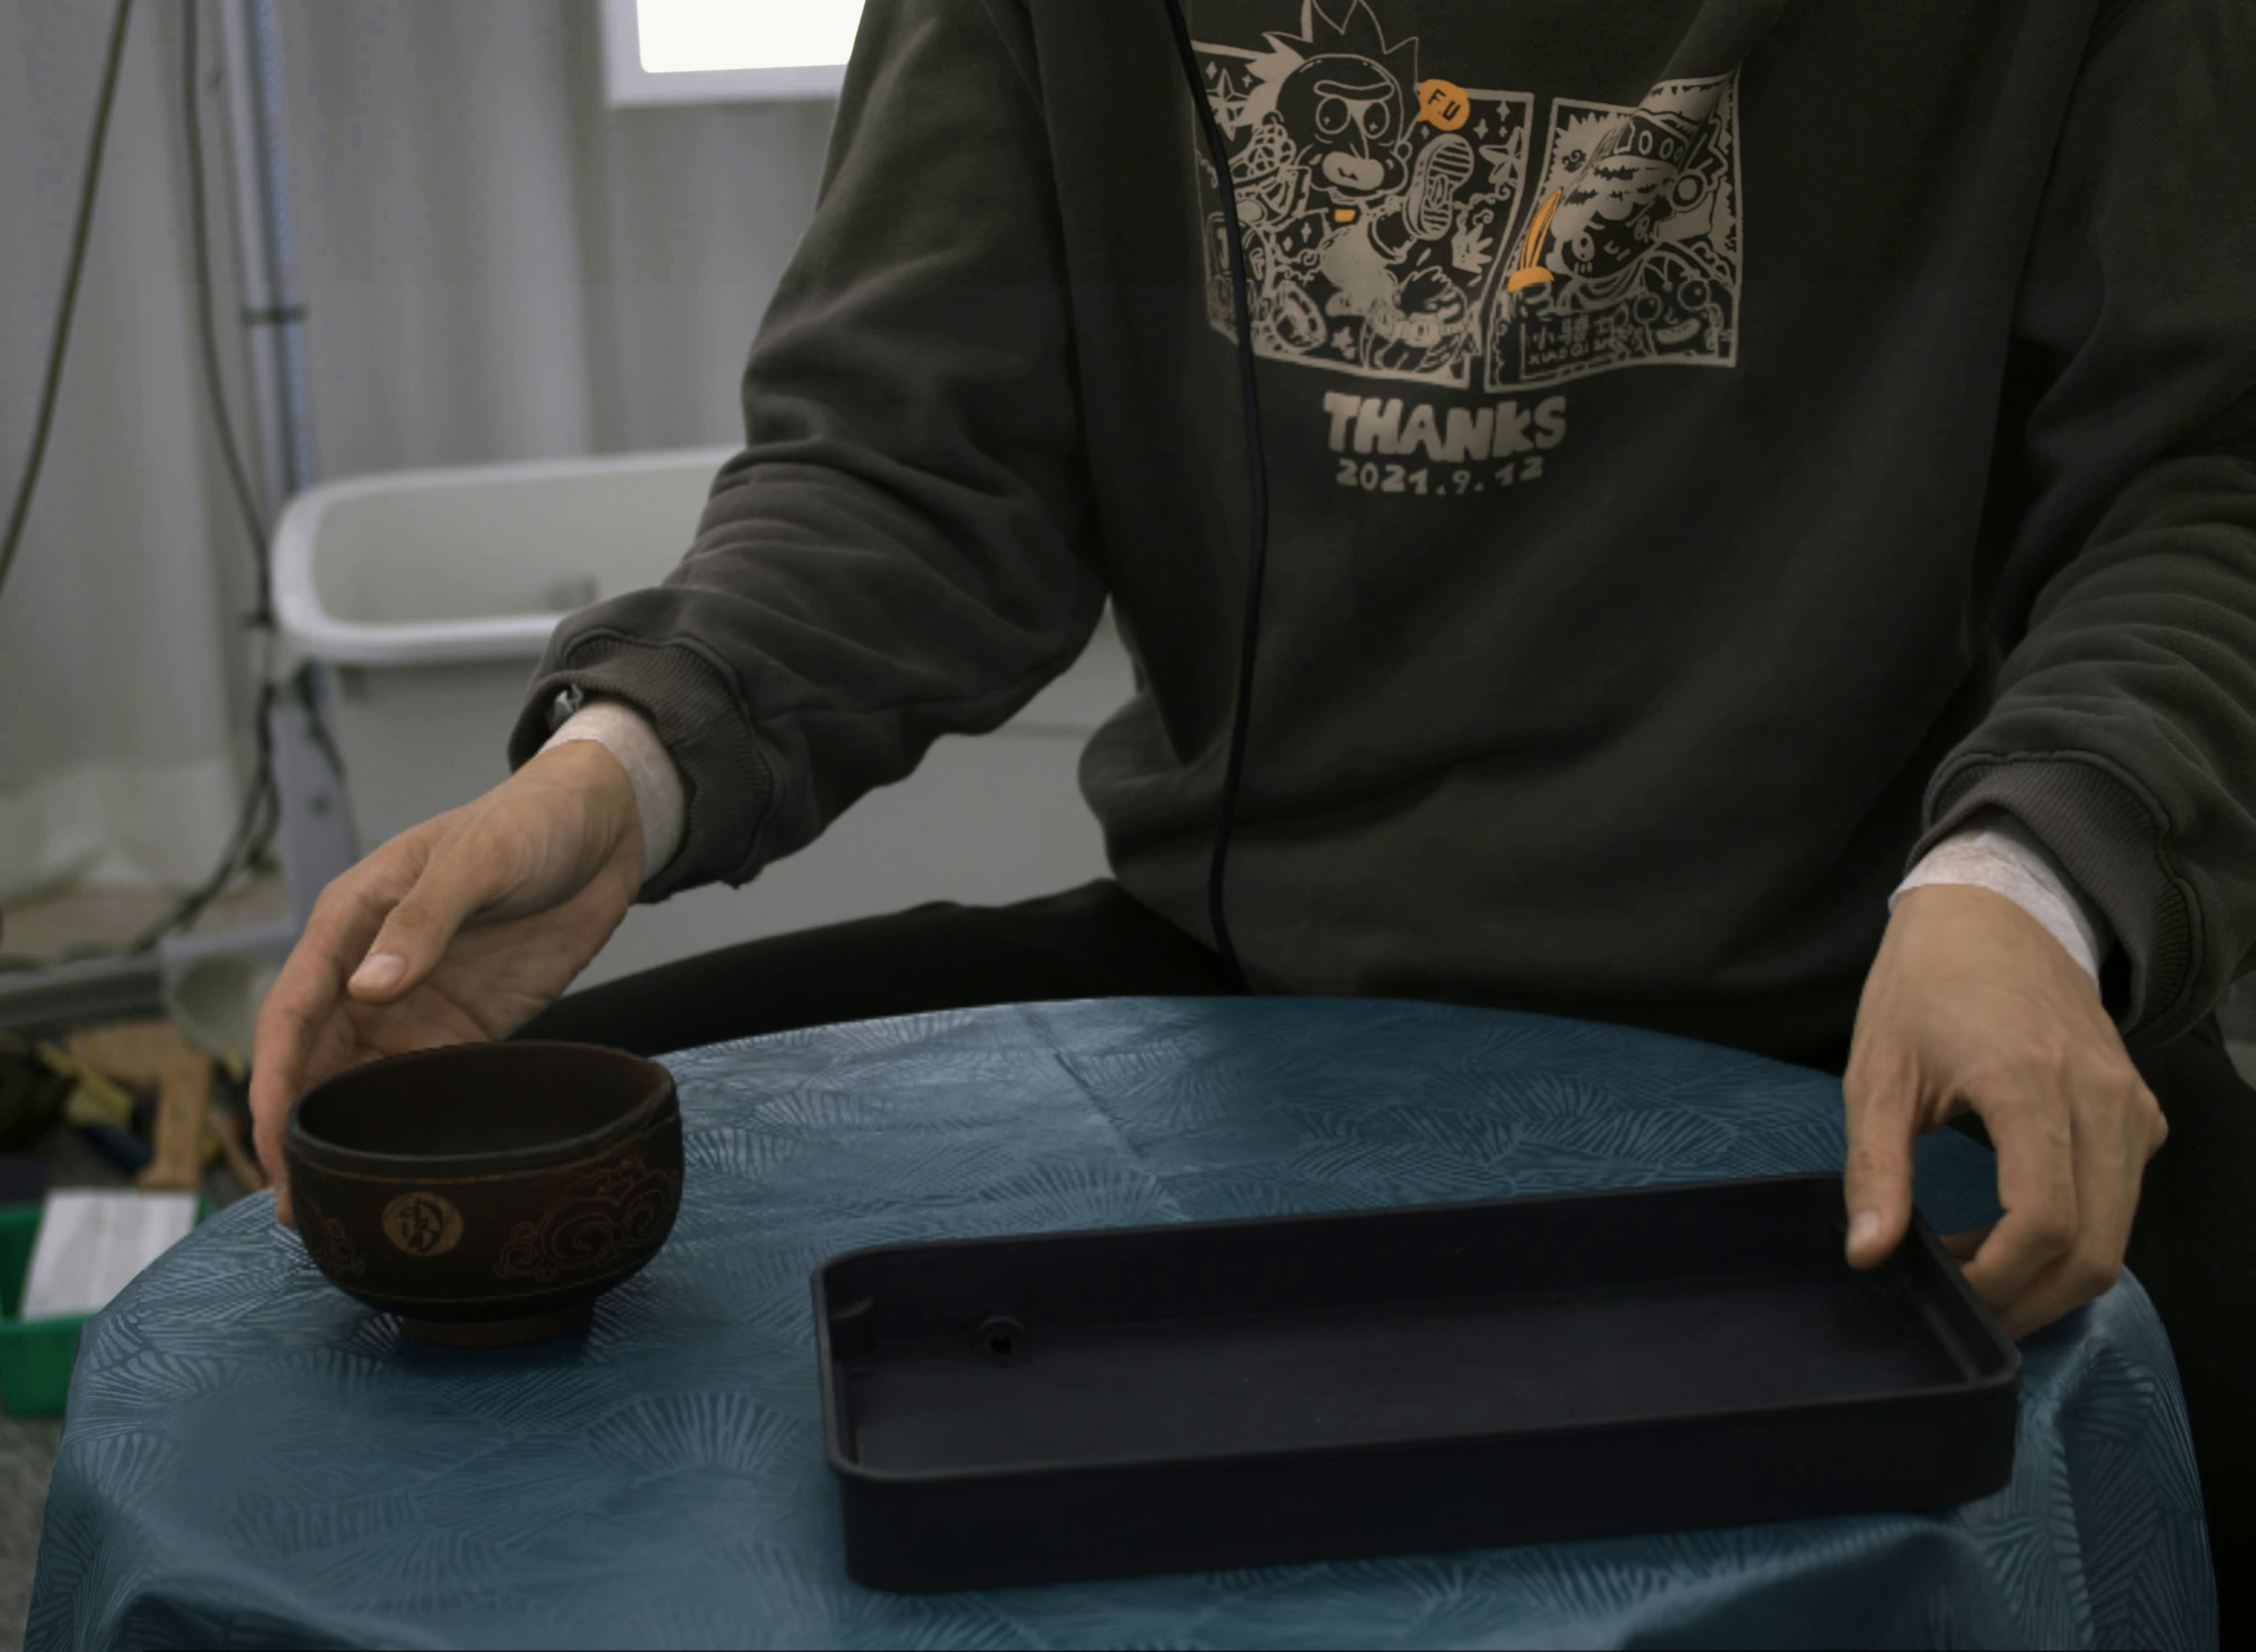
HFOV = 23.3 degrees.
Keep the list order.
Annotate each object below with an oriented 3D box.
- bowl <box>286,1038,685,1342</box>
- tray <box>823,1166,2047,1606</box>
[{"bbox_3d":[-0.190,0.112,1.631,0.117,0.069,0.119,-3,13,0],"label":"bowl"},{"bbox_3d":[0.079,0.151,1.506,0.317,0.037,0.185,-5,15,-5],"label":"tray"}]
